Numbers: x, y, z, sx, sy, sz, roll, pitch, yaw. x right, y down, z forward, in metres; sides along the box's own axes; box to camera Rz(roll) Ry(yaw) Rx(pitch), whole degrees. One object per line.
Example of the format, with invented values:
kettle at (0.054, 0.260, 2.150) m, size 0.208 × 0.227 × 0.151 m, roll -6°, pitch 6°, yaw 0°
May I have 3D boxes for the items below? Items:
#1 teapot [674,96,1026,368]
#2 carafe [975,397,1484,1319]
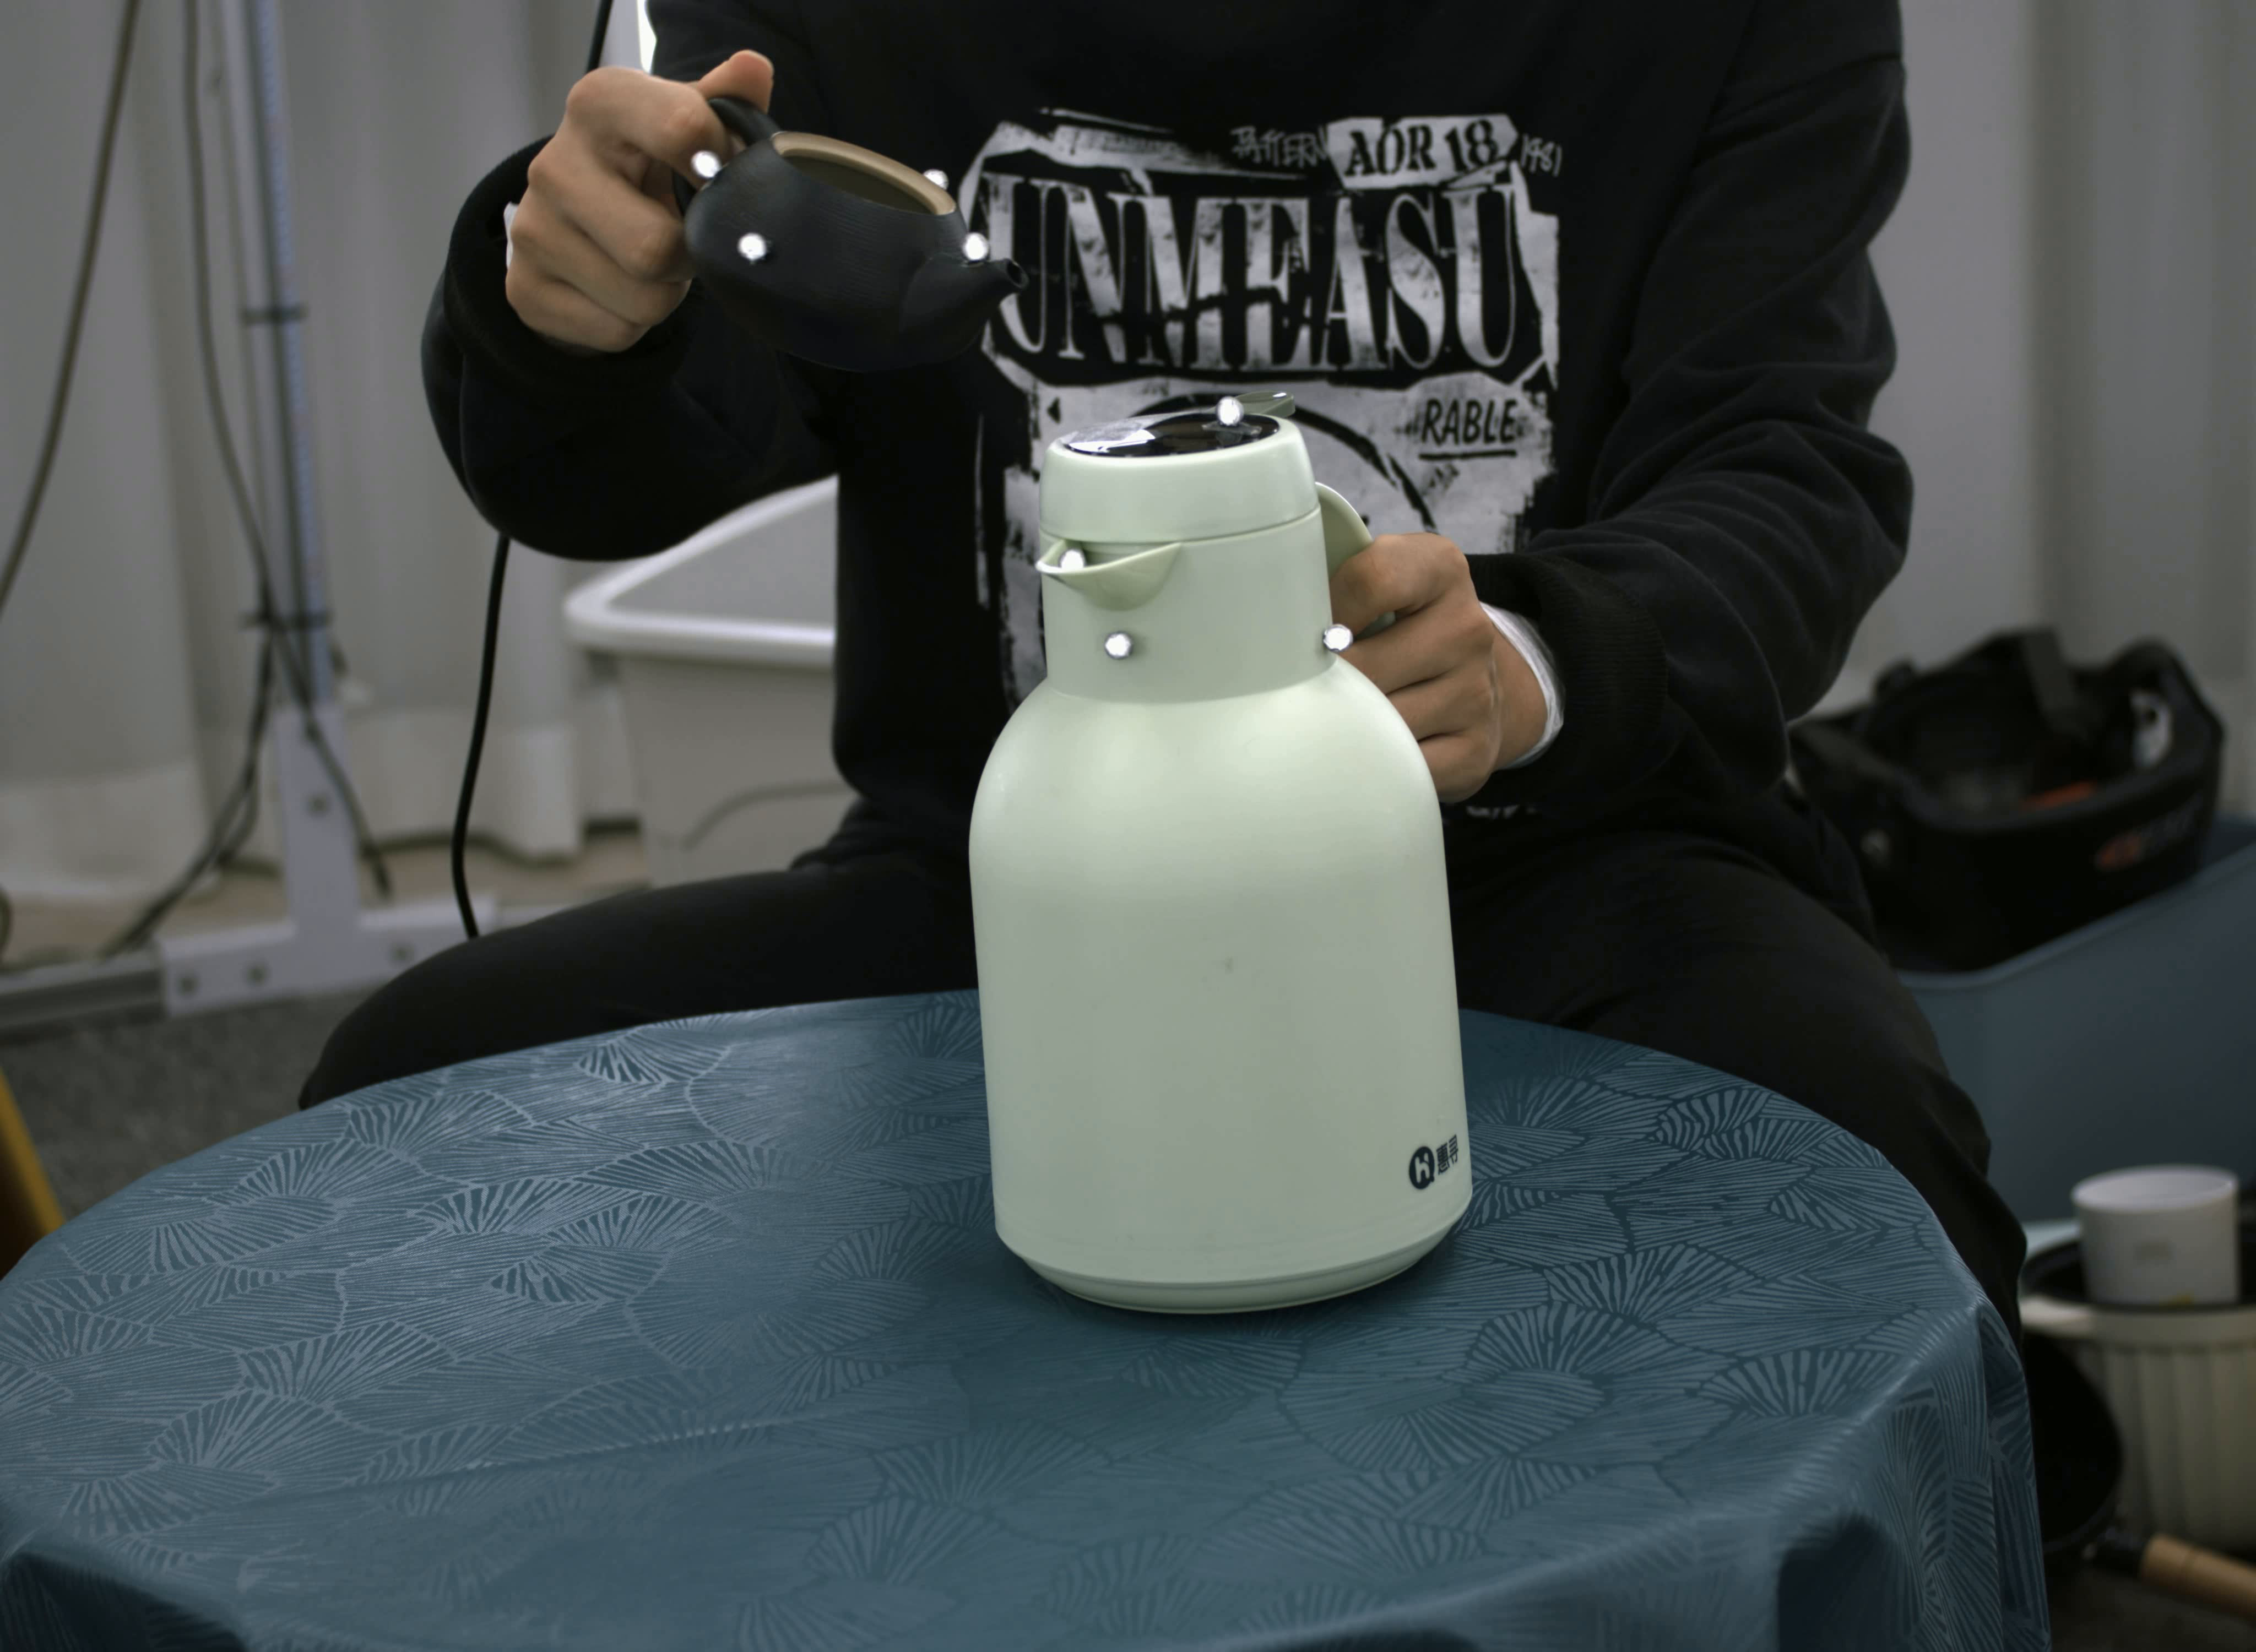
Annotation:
teapot at (-0.088, -0.171, 1.631) m, size 0.134 × 0.053 × 0.090 m, roll 33°, pitch 21°, yaw 29°
carafe at (0.032, 0.005, 1.635) m, size 0.144 × 0.256 × 0.187 m, roll 0°, pitch 10°, yaw 29°
